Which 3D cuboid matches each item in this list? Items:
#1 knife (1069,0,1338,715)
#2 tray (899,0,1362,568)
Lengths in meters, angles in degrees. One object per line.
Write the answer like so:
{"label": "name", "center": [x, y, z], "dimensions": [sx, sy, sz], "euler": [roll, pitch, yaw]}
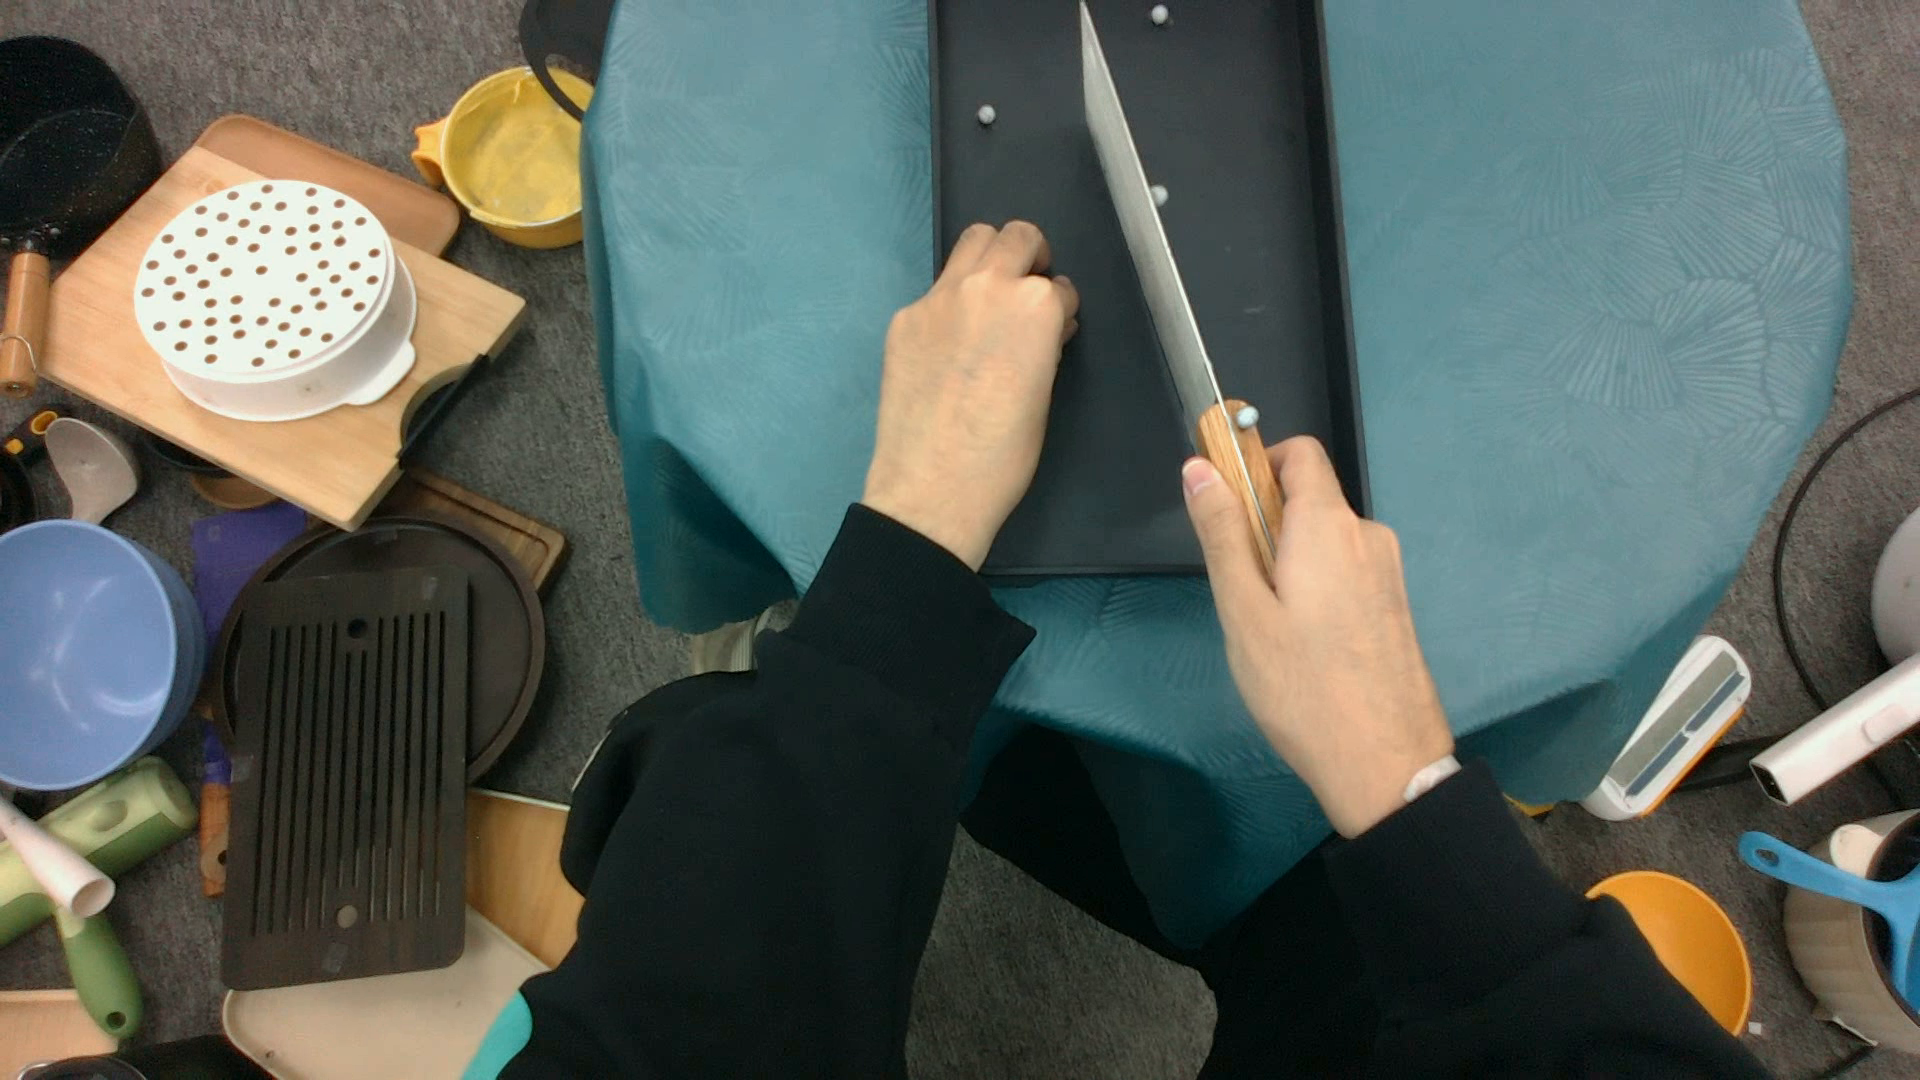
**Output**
{"label": "knife", "center": [0.090, -0.073, 0.562], "dimensions": [0.021, 0.093, 0.306], "euler": [-16, 74, 0]}
{"label": "tray", "center": [0.069, -0.145, 0.624], "dimensions": [0.184, 0.037, 0.318], "euler": [-3, 75, -4]}
